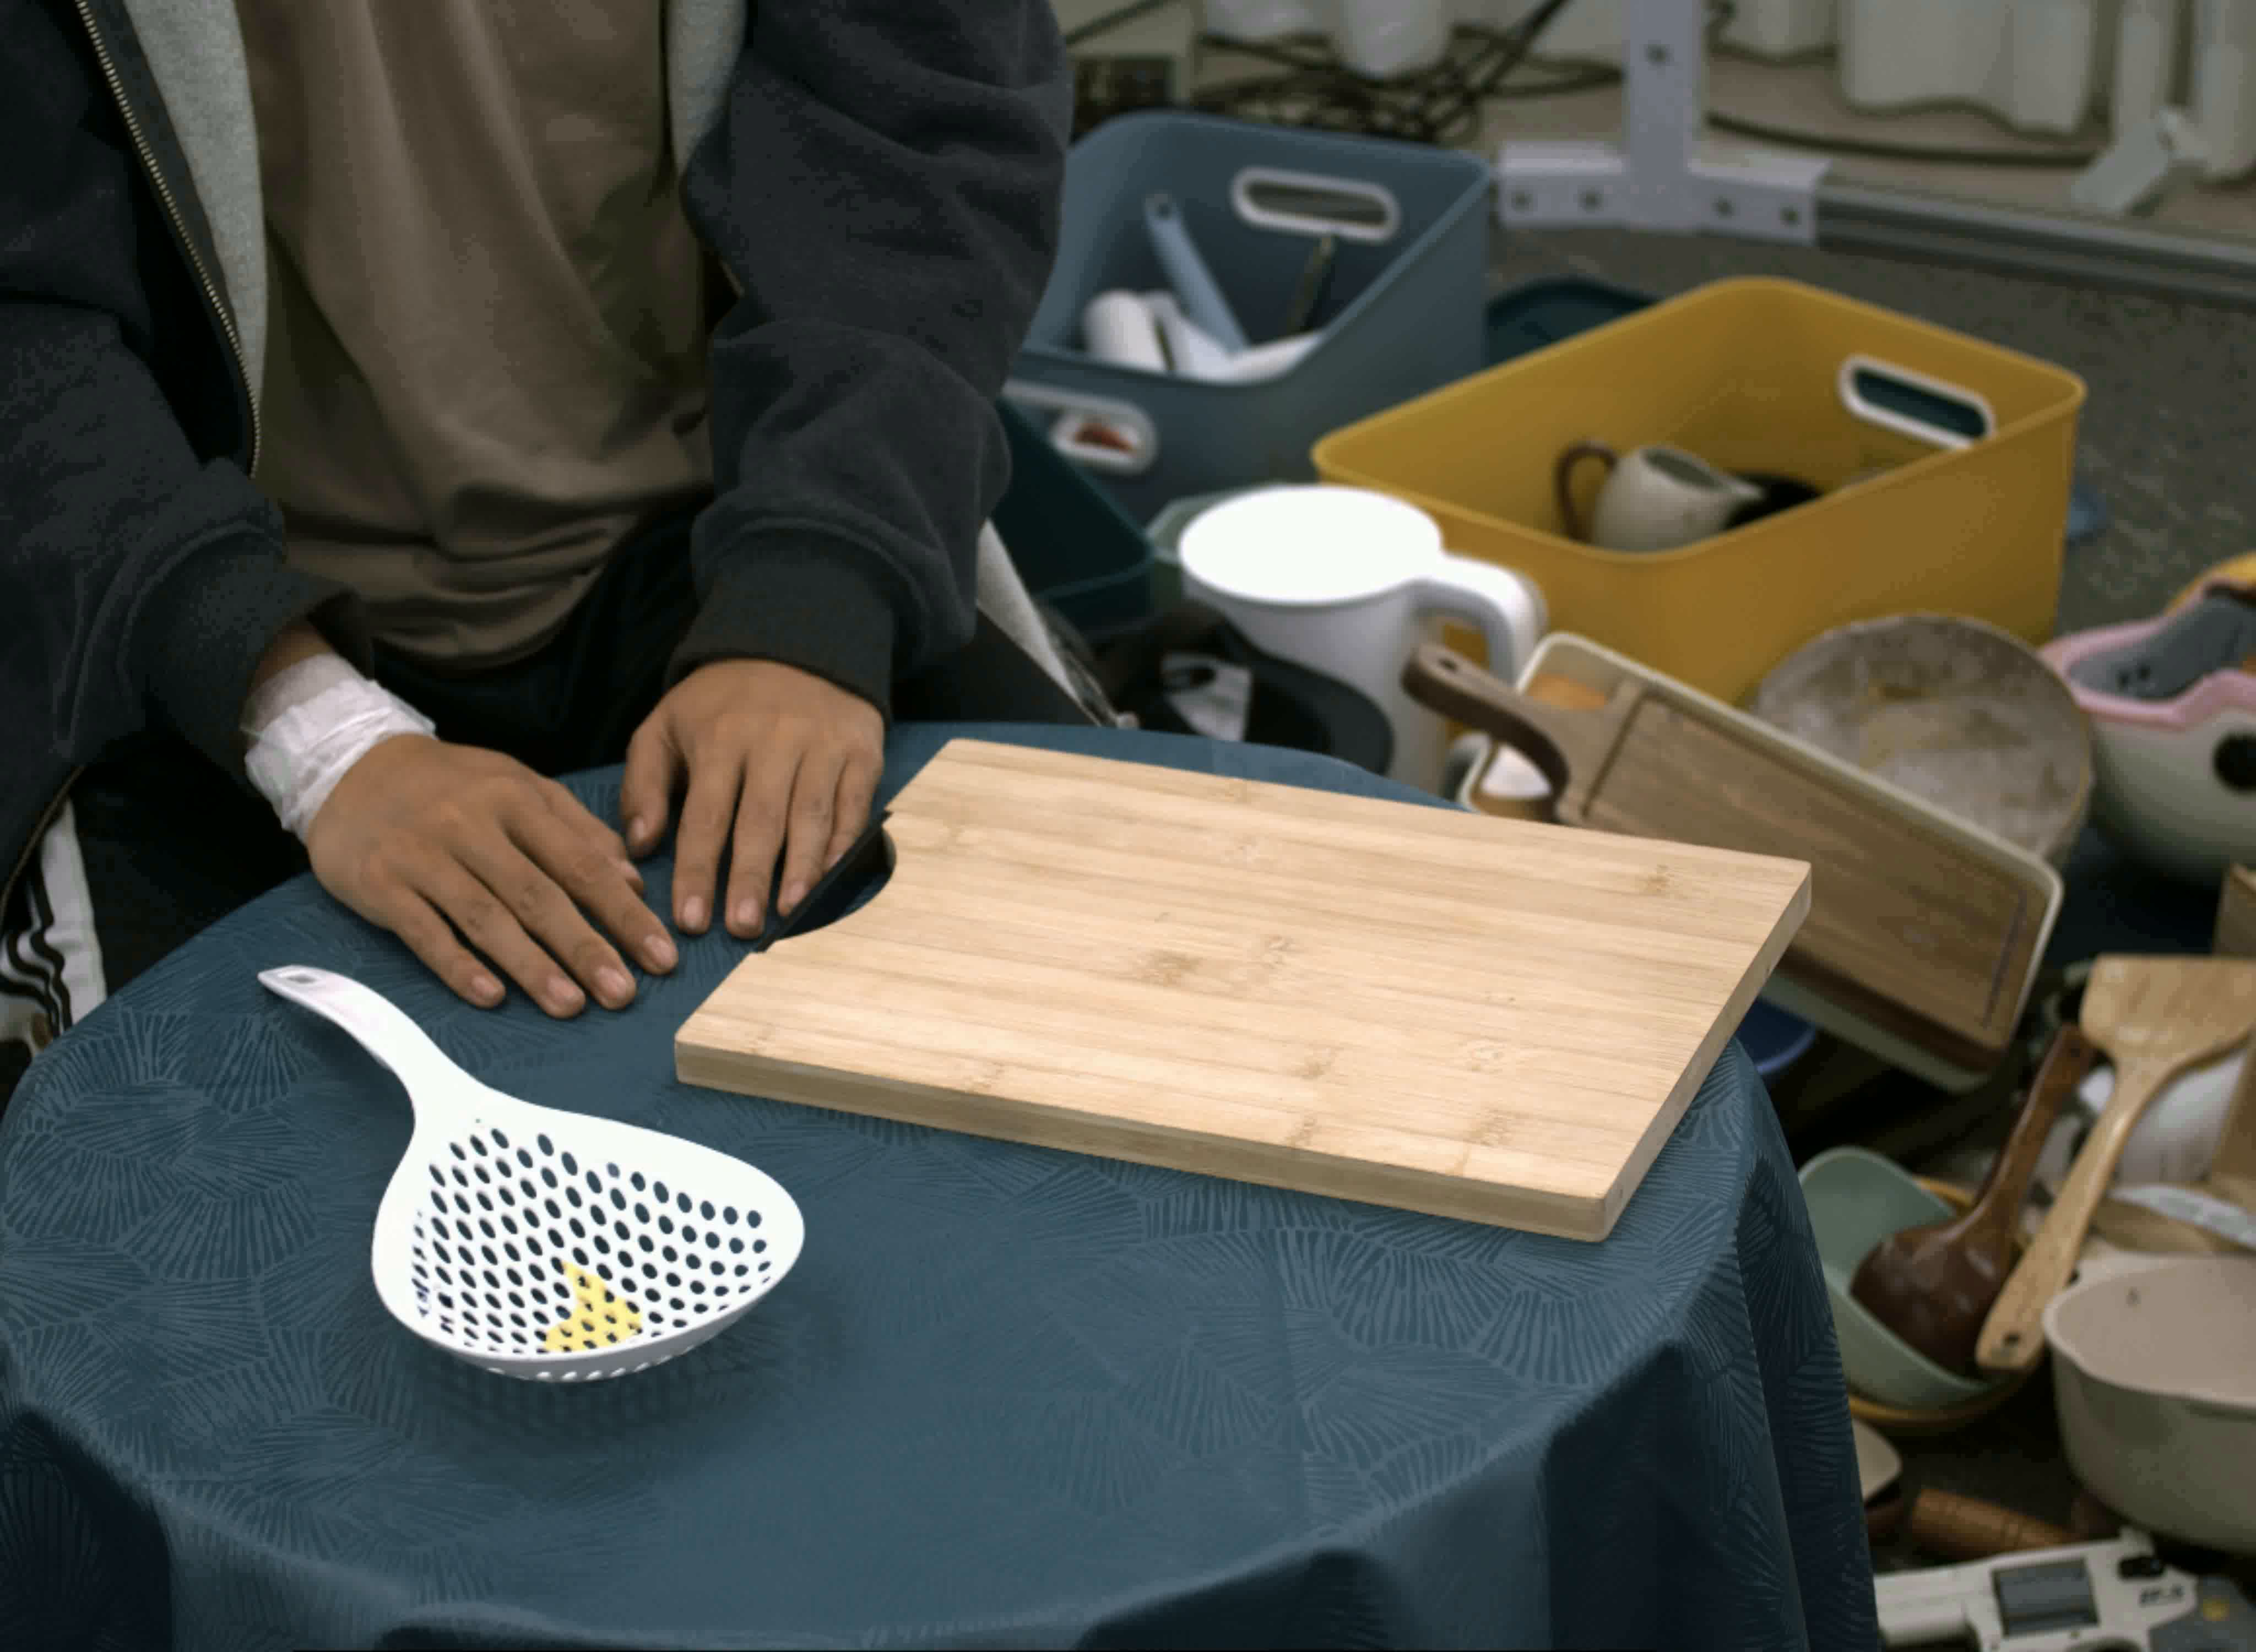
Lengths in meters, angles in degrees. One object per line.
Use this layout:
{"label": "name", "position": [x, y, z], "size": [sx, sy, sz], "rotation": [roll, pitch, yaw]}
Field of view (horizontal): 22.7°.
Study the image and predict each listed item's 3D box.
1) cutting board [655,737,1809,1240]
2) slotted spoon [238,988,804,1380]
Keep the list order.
{"label": "cutting board", "position": [0.040, 0.051, 1.976], "size": [0.346, 0.023, 0.255], "rotation": [8, 29, 20]}
{"label": "slotted spoon", "position": [-0.223, 0.105, 1.871], "size": [0.137, 0.050, 0.349], "rotation": [-19, 31, -24]}
